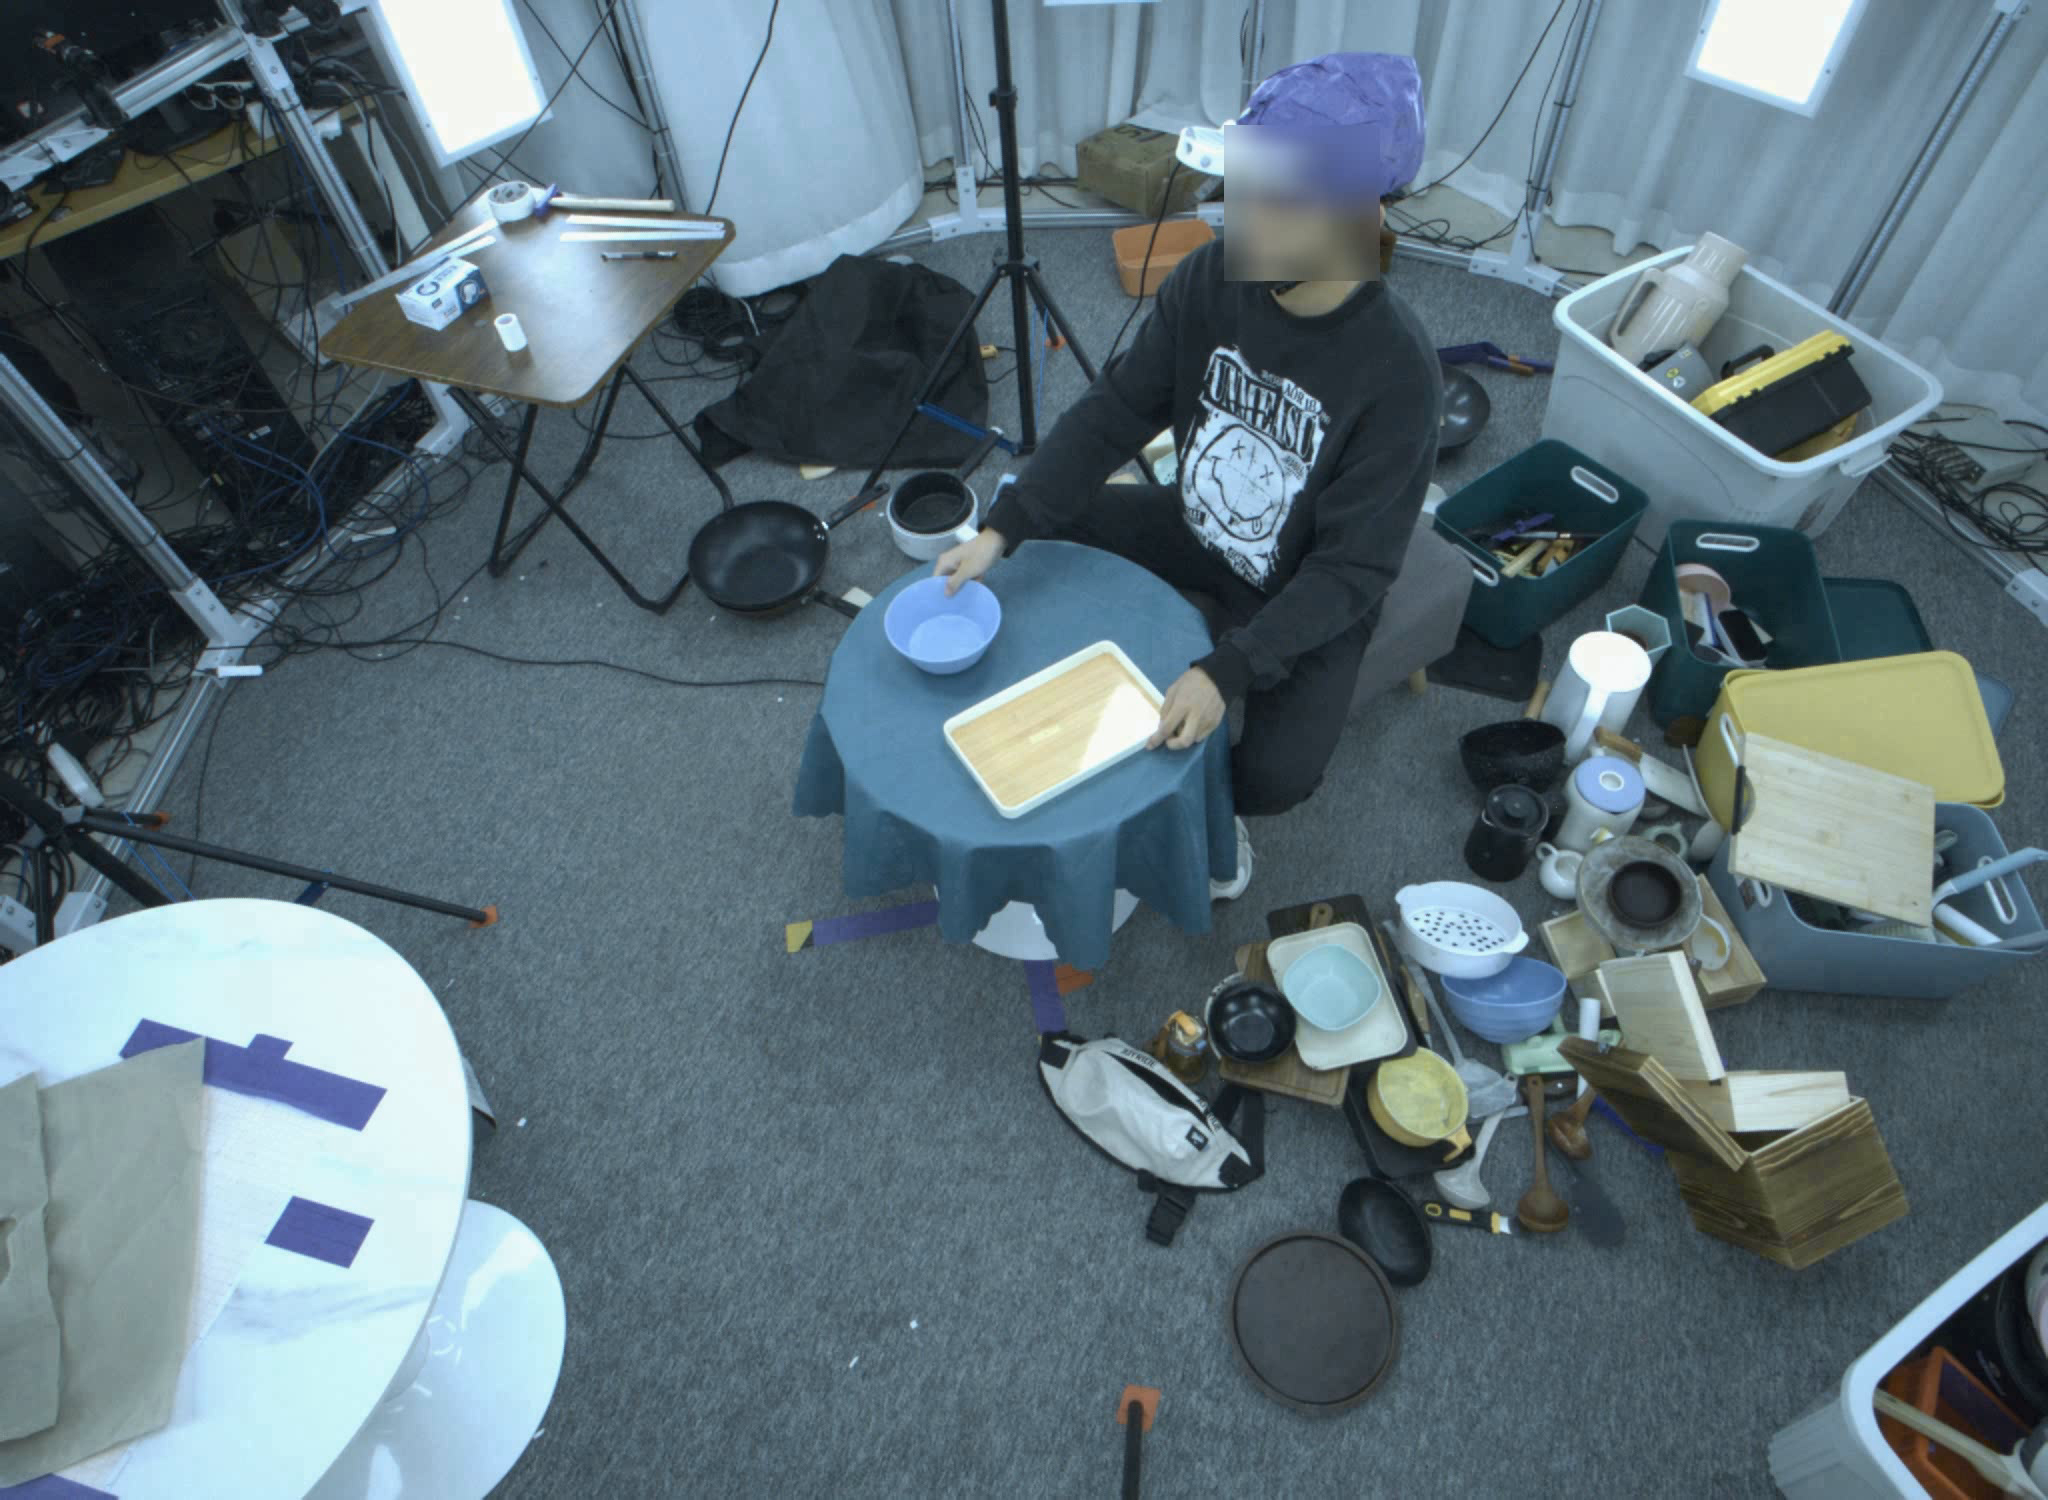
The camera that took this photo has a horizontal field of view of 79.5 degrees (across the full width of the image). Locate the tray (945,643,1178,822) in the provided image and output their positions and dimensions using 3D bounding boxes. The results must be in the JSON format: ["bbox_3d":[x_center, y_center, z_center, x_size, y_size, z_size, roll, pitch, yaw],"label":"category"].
[{"bbox_3d":[0.056,-0.030,1.801,0.302,0.028,0.188,-28,59,-17],"label":"tray"}]

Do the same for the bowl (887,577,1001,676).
[{"bbox_3d":[-0.120,-0.179,1.883,0.176,0.071,0.174,0,56,2],"label":"bowl"}]
